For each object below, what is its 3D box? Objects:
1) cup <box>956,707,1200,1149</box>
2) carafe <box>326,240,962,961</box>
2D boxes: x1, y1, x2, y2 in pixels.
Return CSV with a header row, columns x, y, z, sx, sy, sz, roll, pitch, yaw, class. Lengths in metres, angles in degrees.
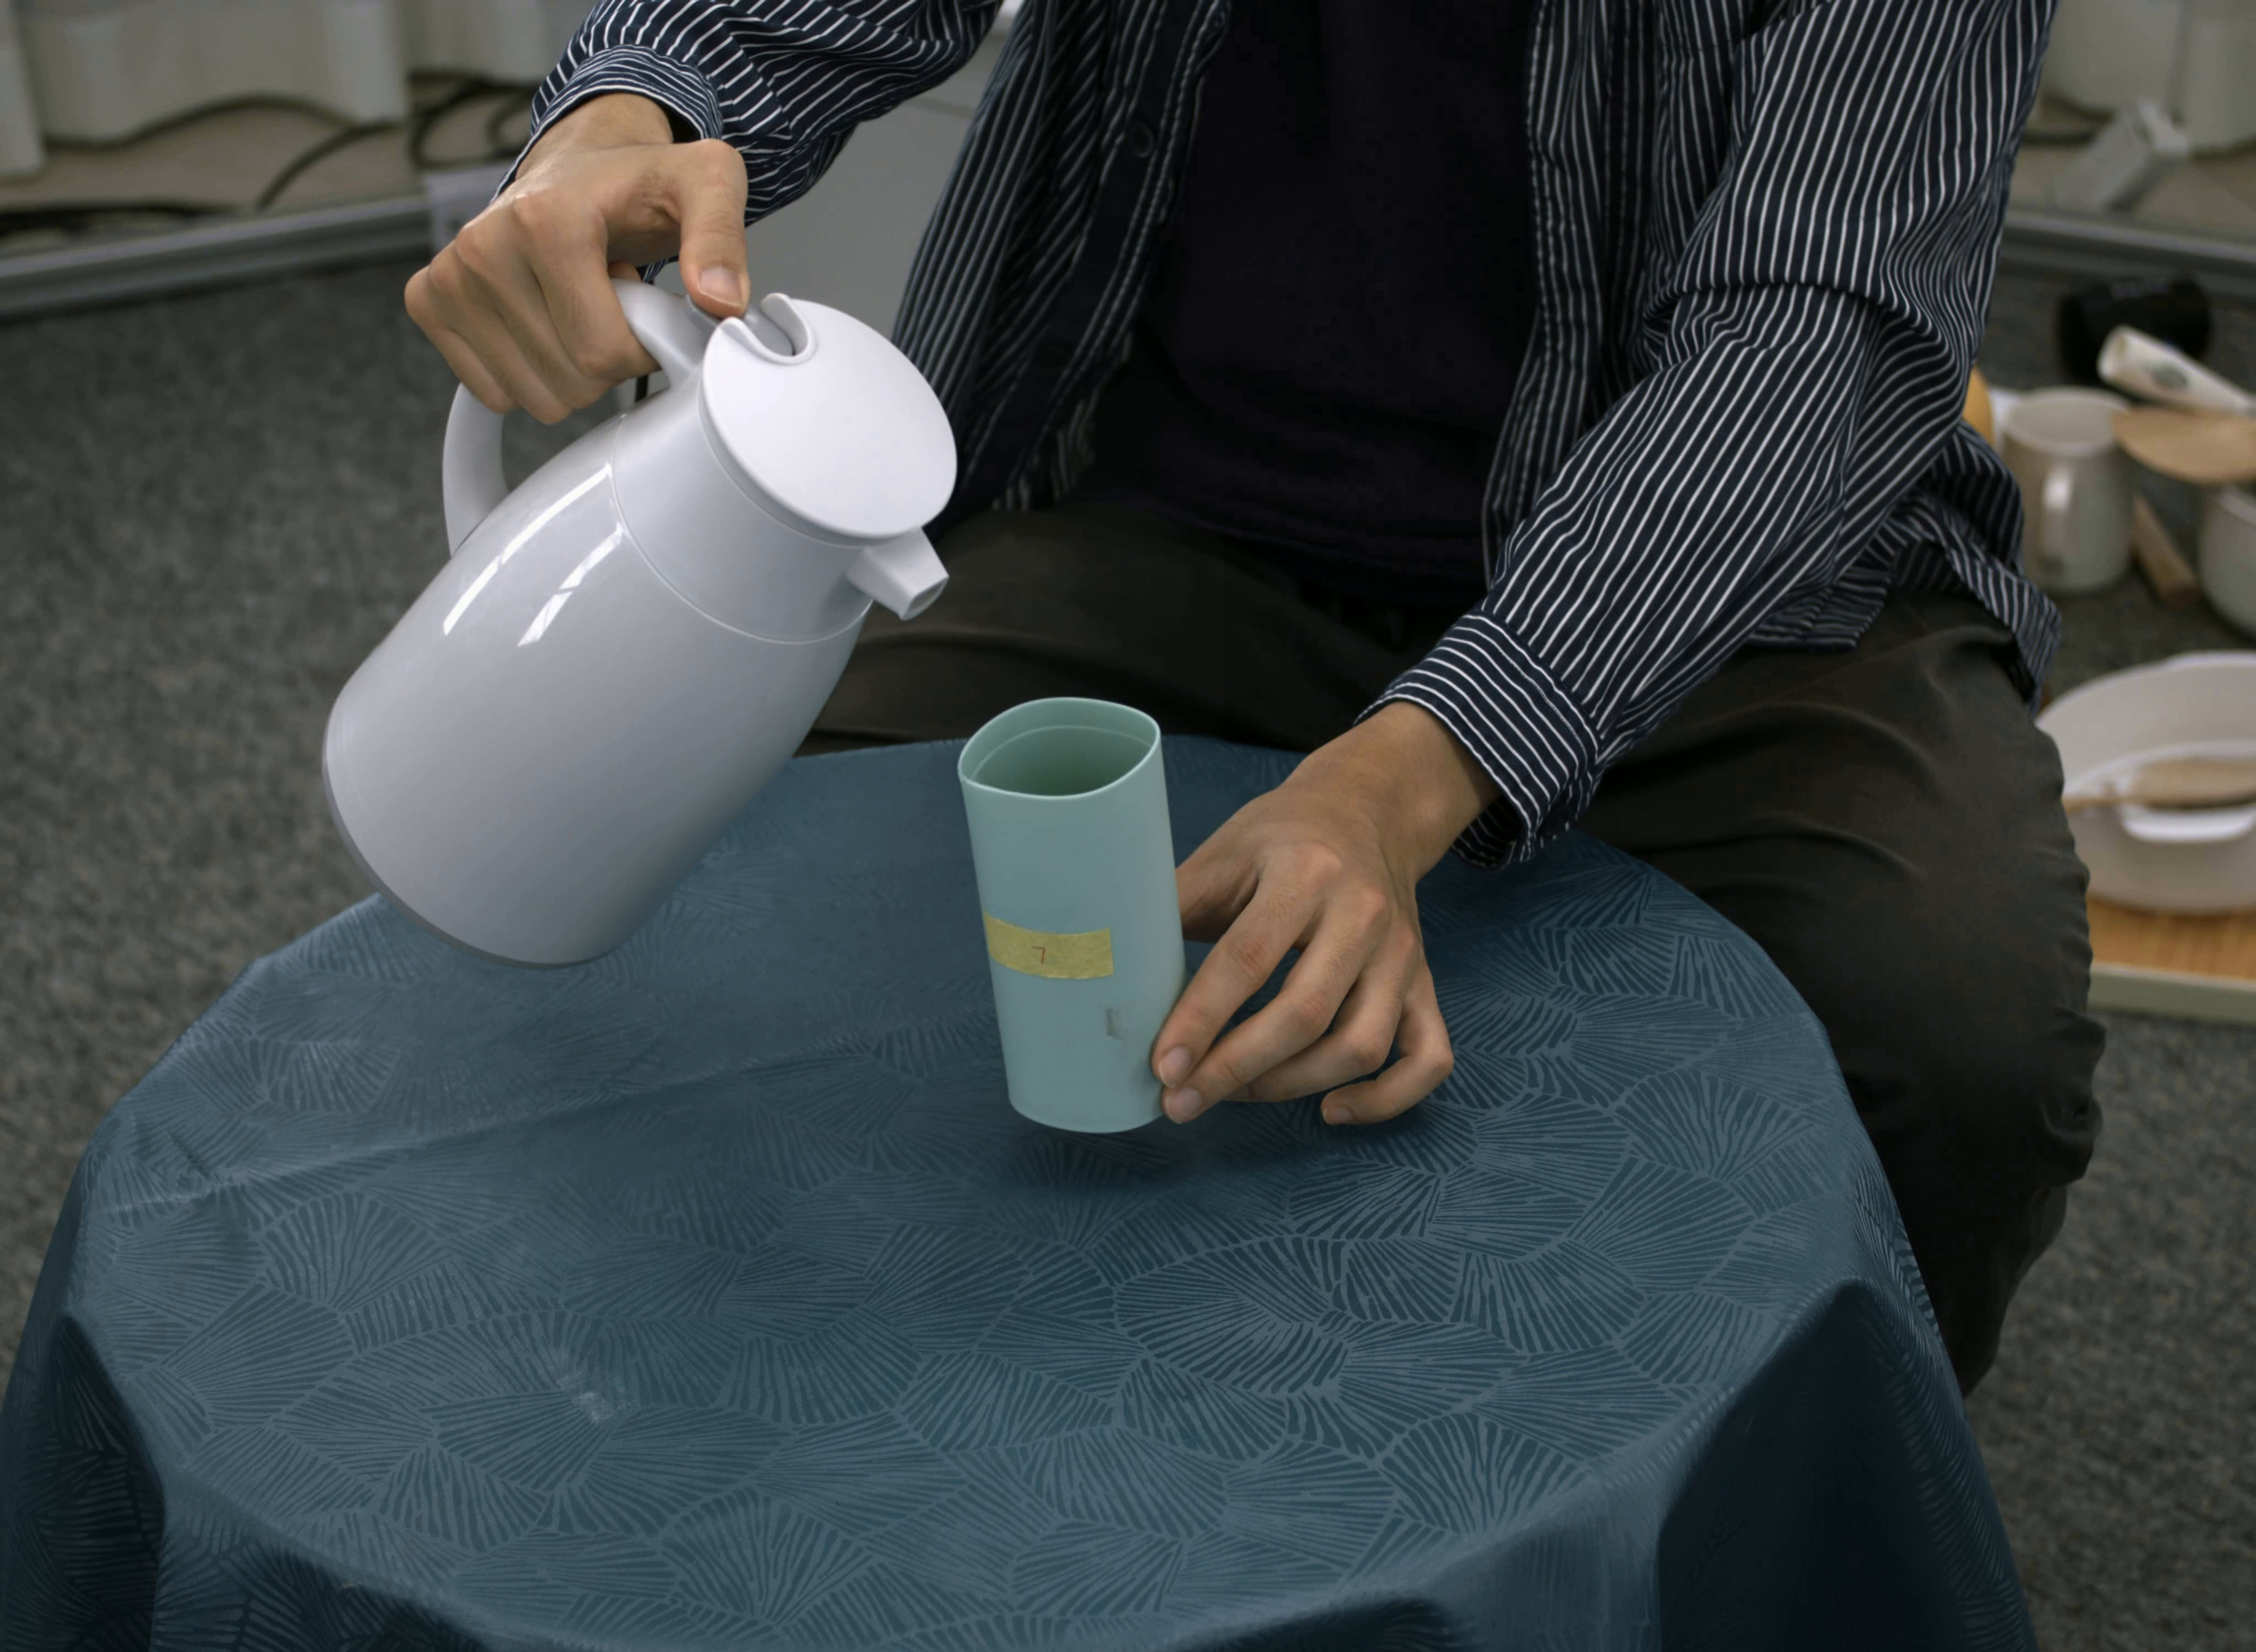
x,y,z,sx,sy,sz,roll,pitch,yaw,class
-0.015,0.033,1.839,0.066,0.131,0.068,-6,29,4,cup
-0.165,-0.088,1.846,0.168,0.244,0.134,48,42,5,carafe
